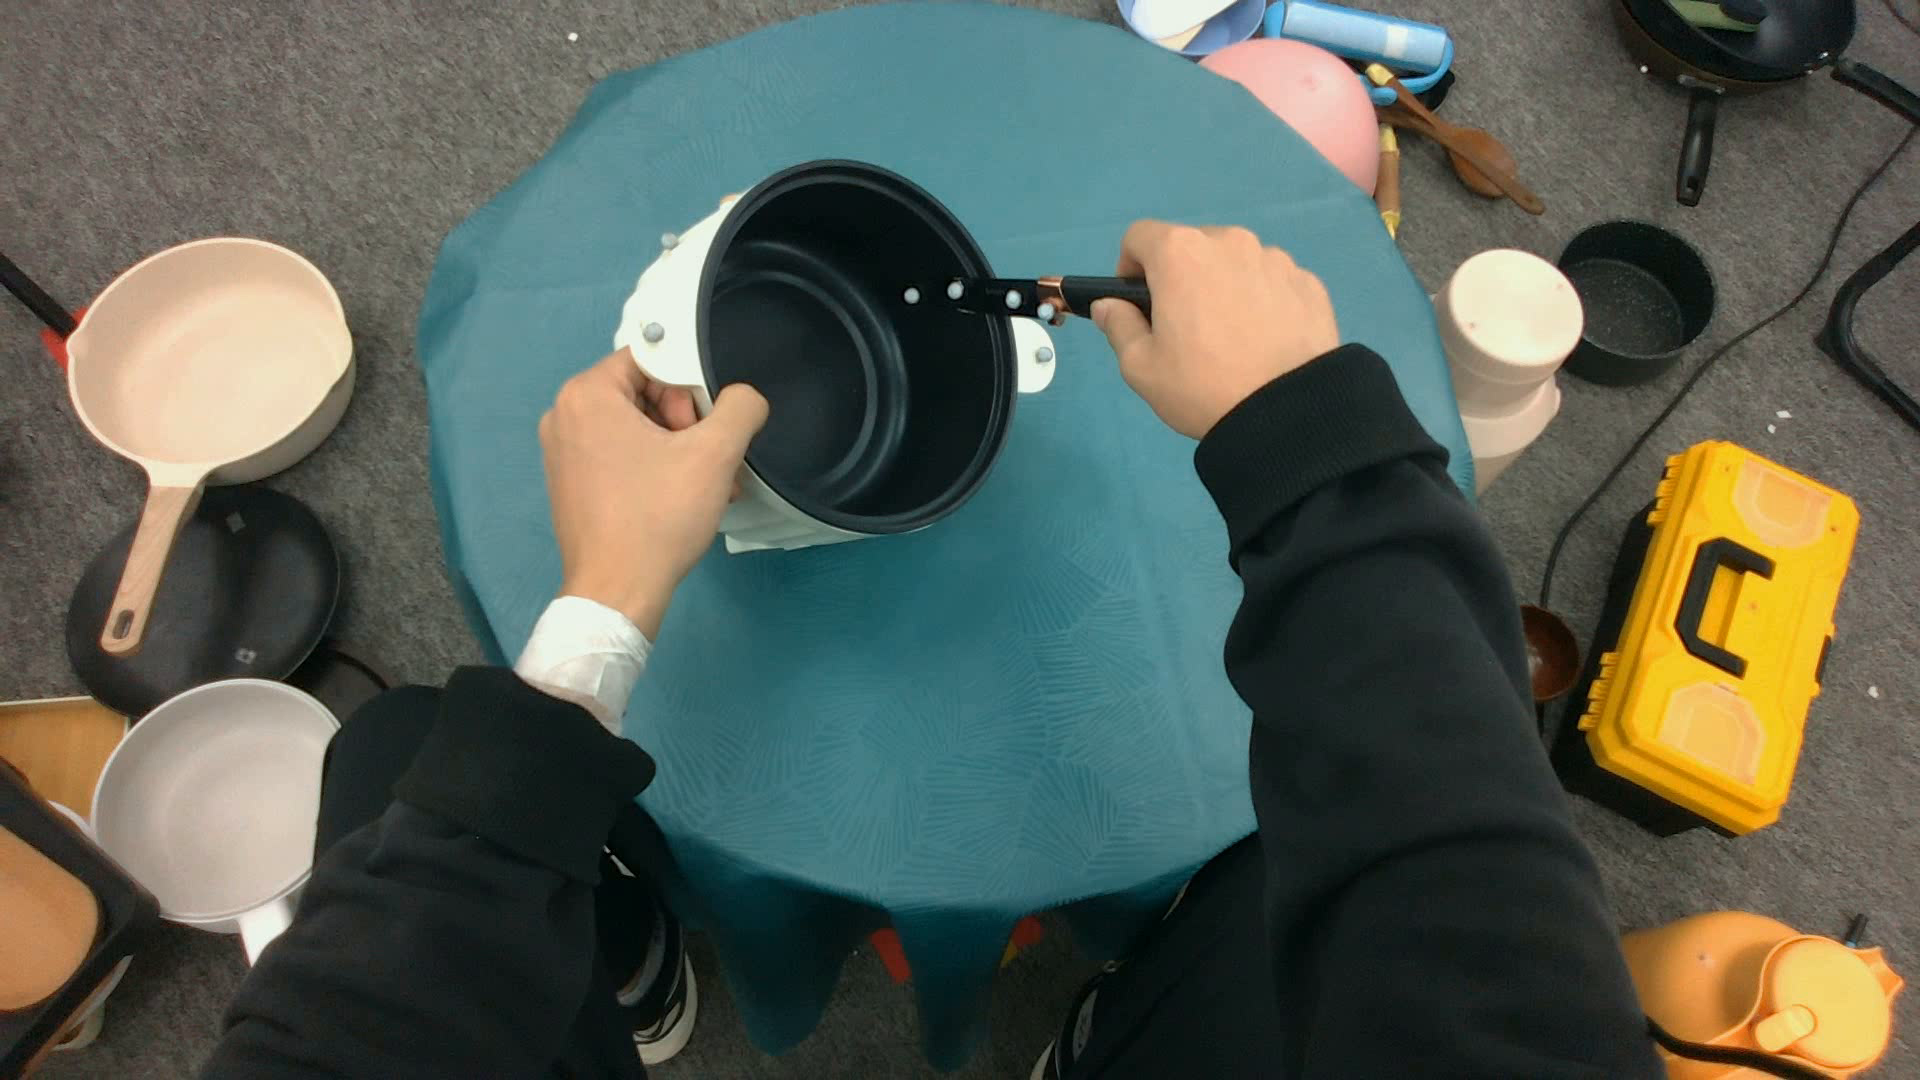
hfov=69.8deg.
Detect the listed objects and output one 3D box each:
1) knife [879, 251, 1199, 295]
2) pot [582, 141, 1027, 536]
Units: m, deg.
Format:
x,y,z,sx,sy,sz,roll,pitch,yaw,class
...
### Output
x,y,z,sx,sy,sz,roll,pitch,yaw,class
0.027,-0.130,0.677,0.026,0.225,0.017,23,82,-42,knife
-0.098,-0.101,0.706,0.241,0.142,0.190,-6,91,-40,pot
